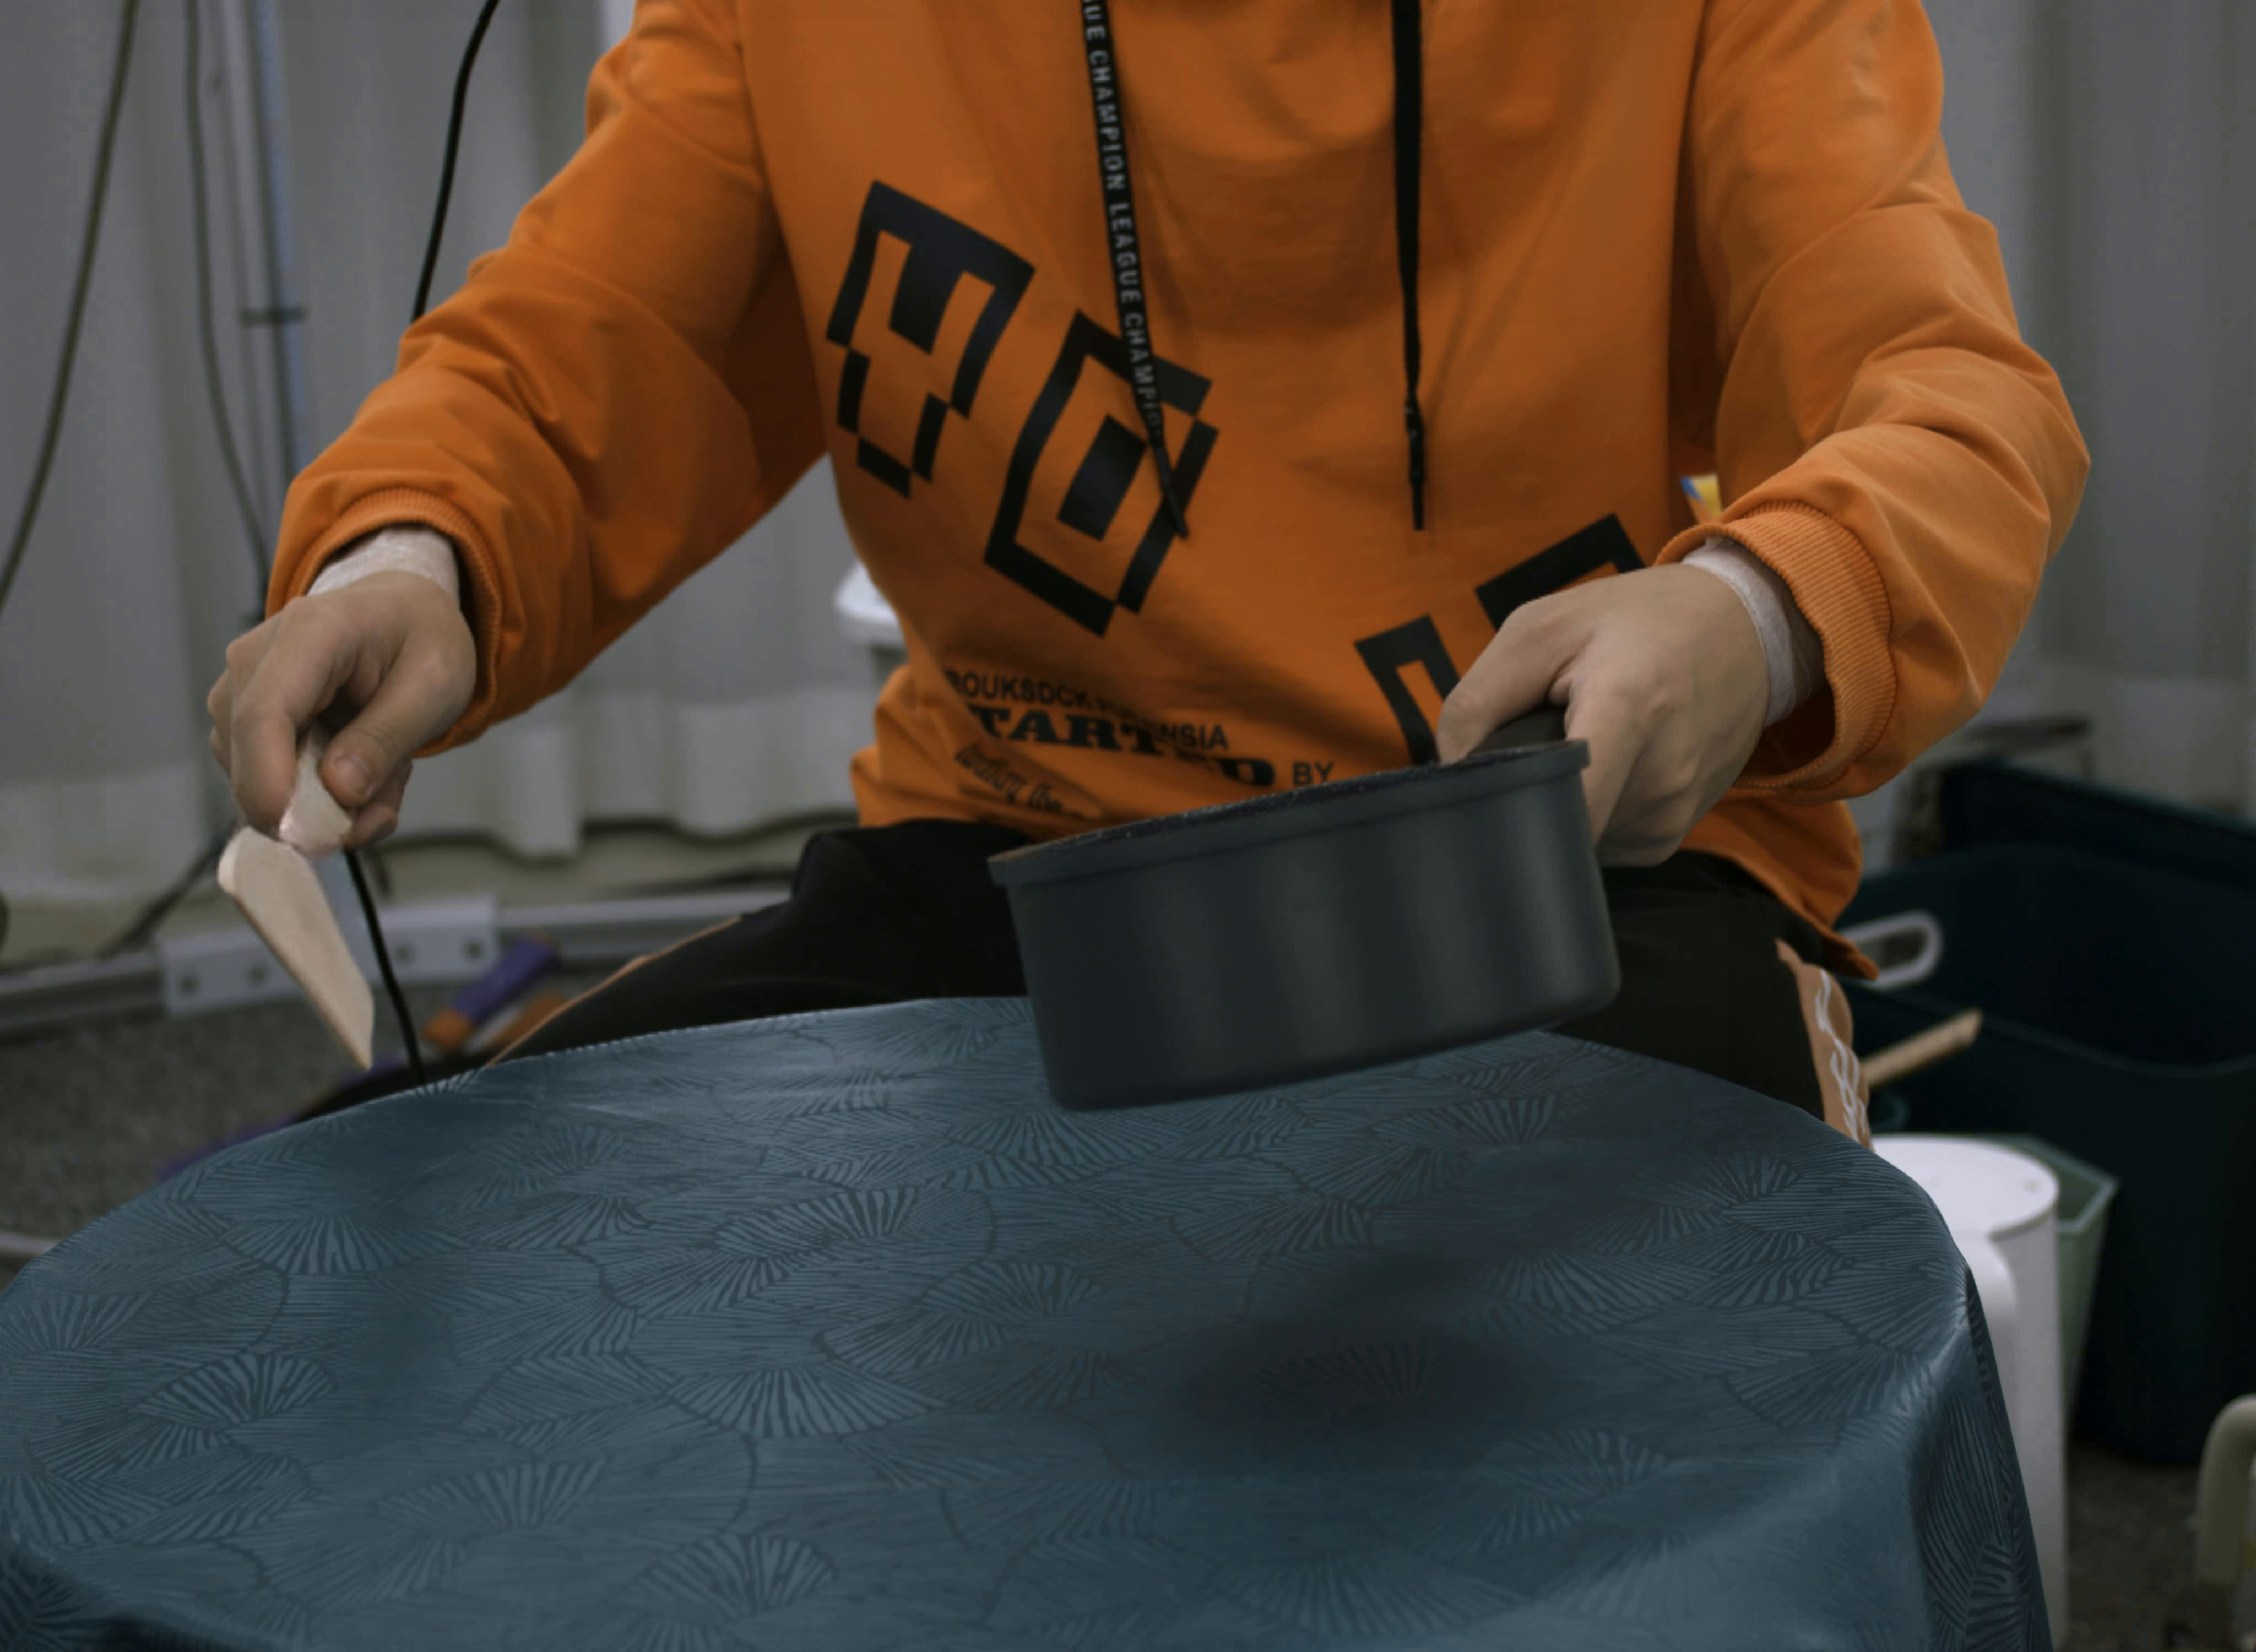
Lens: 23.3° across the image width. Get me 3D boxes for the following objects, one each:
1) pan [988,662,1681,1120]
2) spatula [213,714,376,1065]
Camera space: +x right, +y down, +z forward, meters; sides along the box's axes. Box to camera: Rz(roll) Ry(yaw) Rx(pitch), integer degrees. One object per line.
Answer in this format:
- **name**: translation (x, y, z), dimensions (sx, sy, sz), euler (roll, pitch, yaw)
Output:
- **pan**: translation (0.088, 0.016, 1.593), dimensions (0.172, 0.086, 0.328), euler (-9, 4, 29)
- **spatula**: translation (-0.255, 0.007, 1.714), dimensions (0.010, 0.072, 0.295), euler (-35, 15, 4)
